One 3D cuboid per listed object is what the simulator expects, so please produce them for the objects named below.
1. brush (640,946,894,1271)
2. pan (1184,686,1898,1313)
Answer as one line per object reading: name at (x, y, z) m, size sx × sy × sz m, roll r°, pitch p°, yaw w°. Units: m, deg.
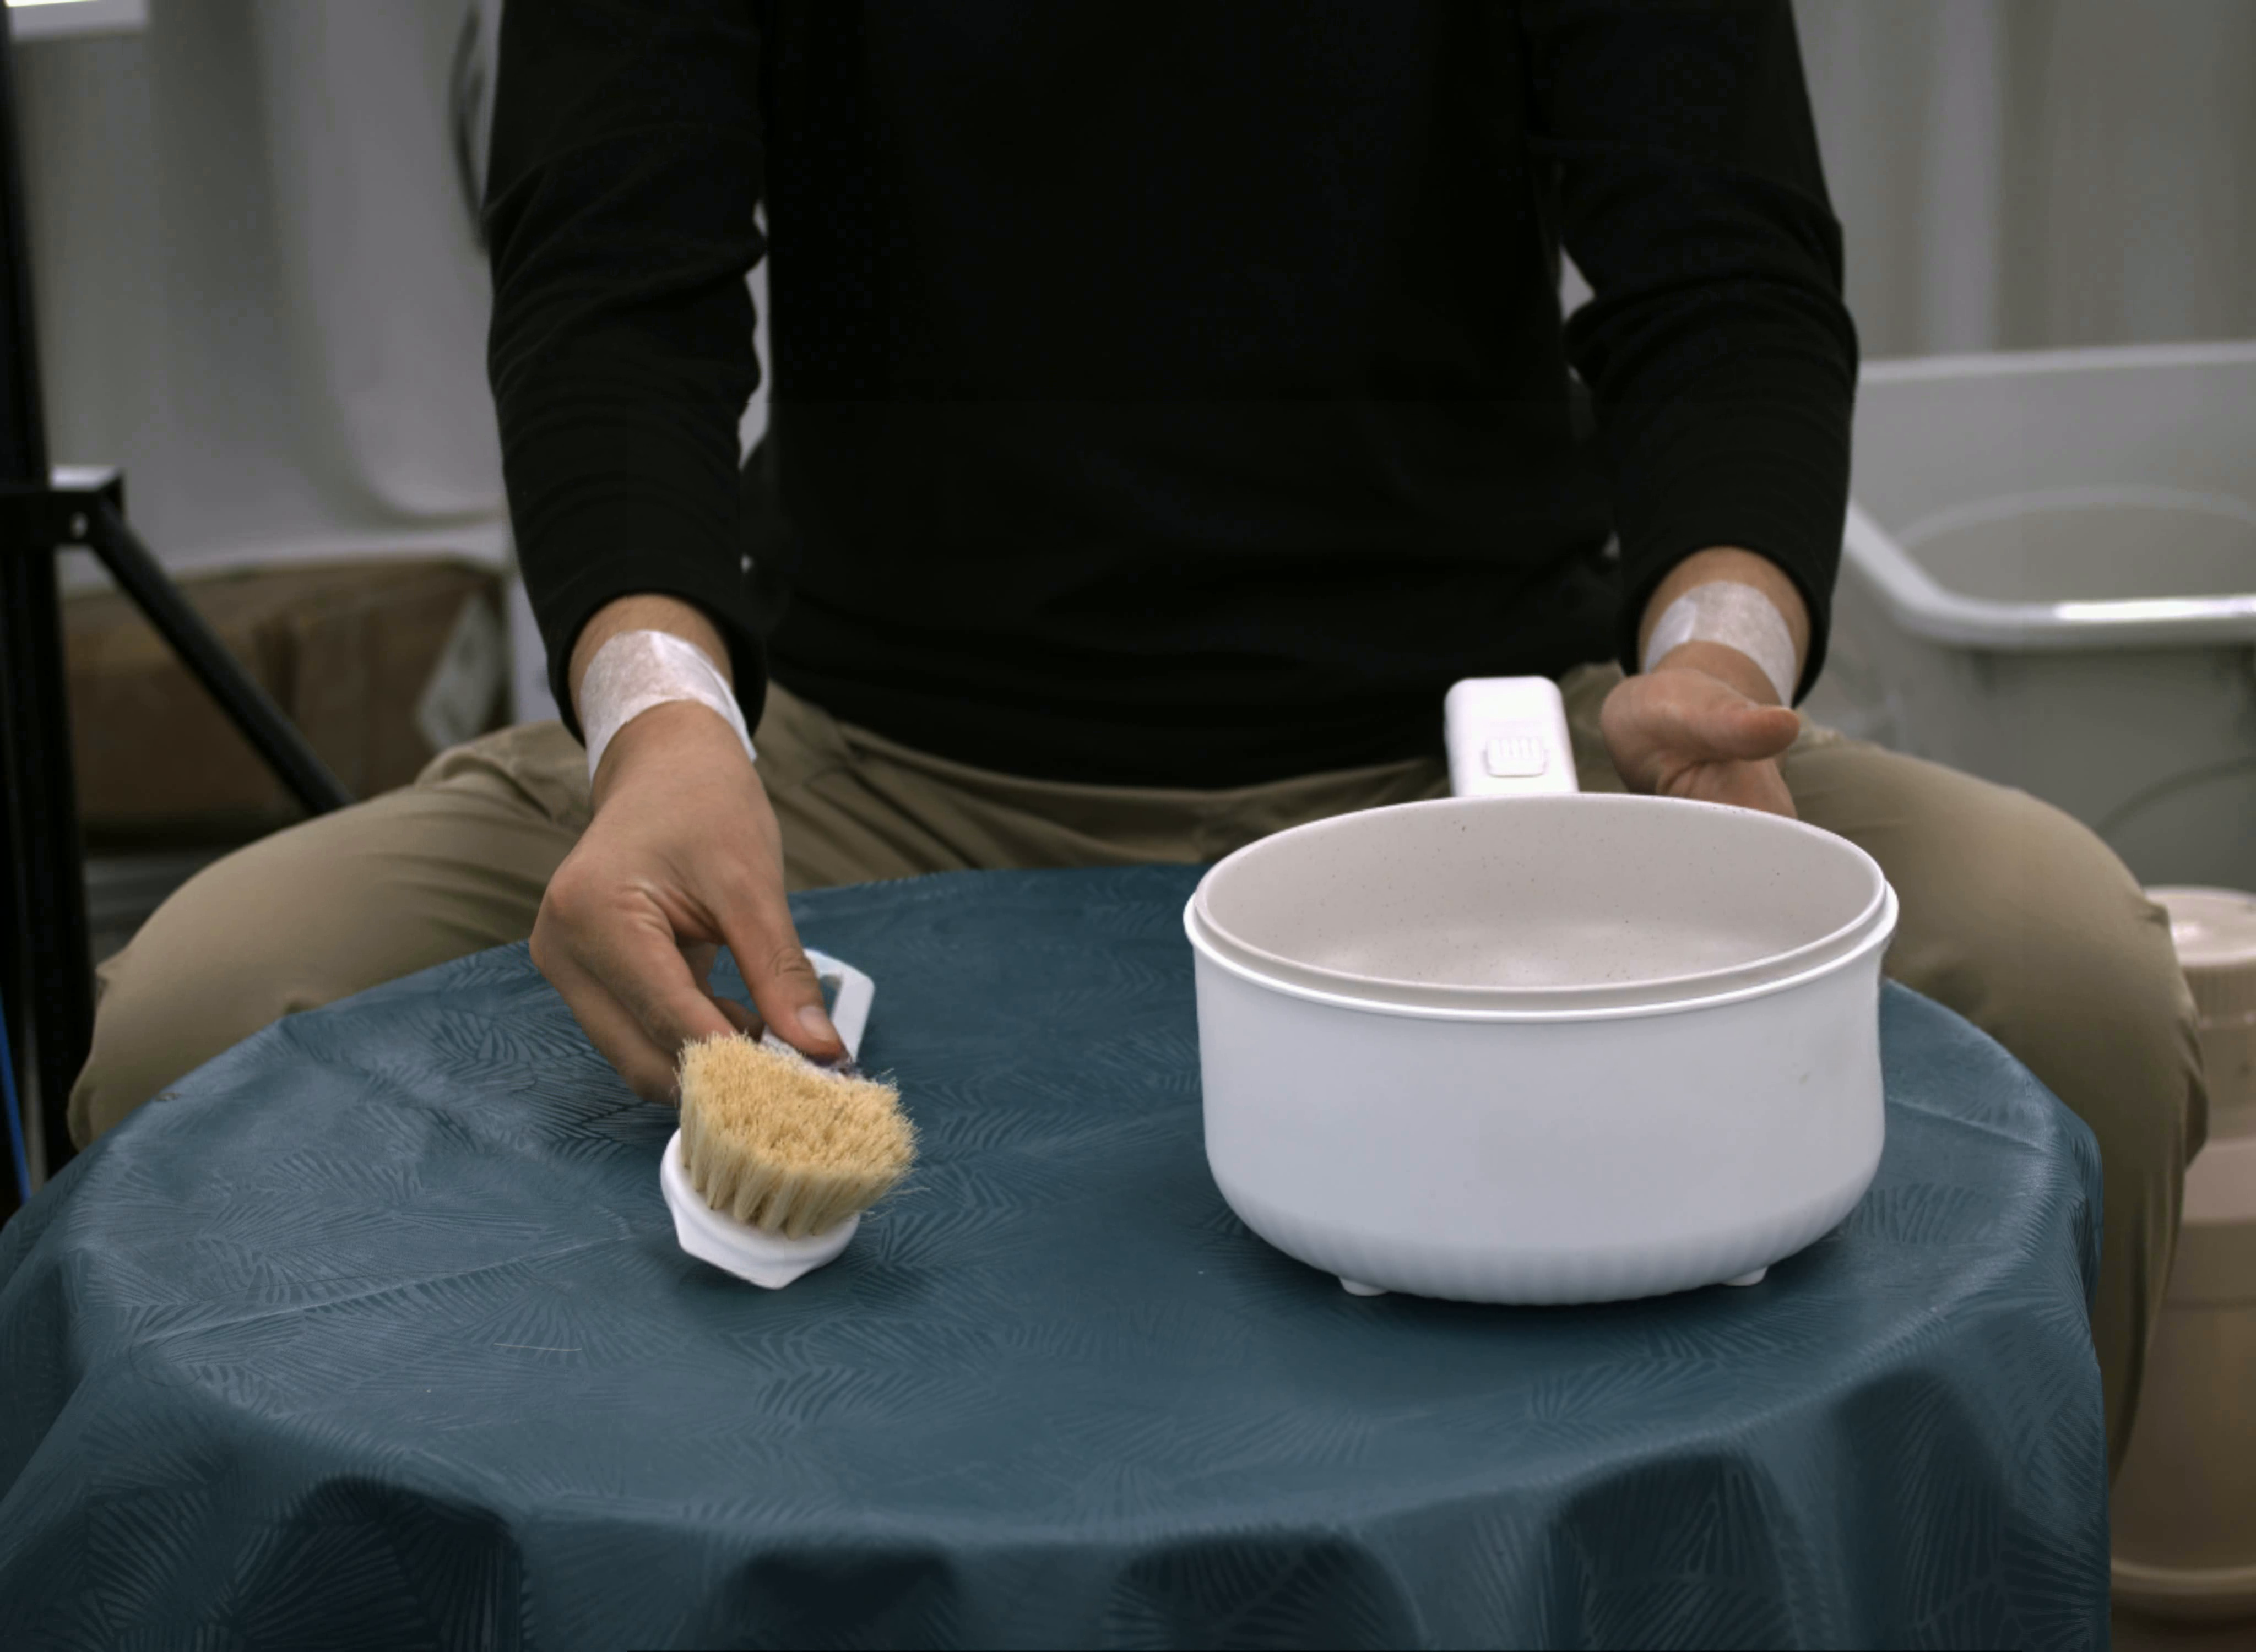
brush at (-0.099, 0.062, 1.606) m, size 0.068 × 0.056 × 0.266 m, roll 29°, pitch 16°, yaw -4°
pan at (0.120, 0.047, 1.578) m, size 0.201 × 0.102 × 0.355 m, roll -3°, pitch 15°, yaw 3°
